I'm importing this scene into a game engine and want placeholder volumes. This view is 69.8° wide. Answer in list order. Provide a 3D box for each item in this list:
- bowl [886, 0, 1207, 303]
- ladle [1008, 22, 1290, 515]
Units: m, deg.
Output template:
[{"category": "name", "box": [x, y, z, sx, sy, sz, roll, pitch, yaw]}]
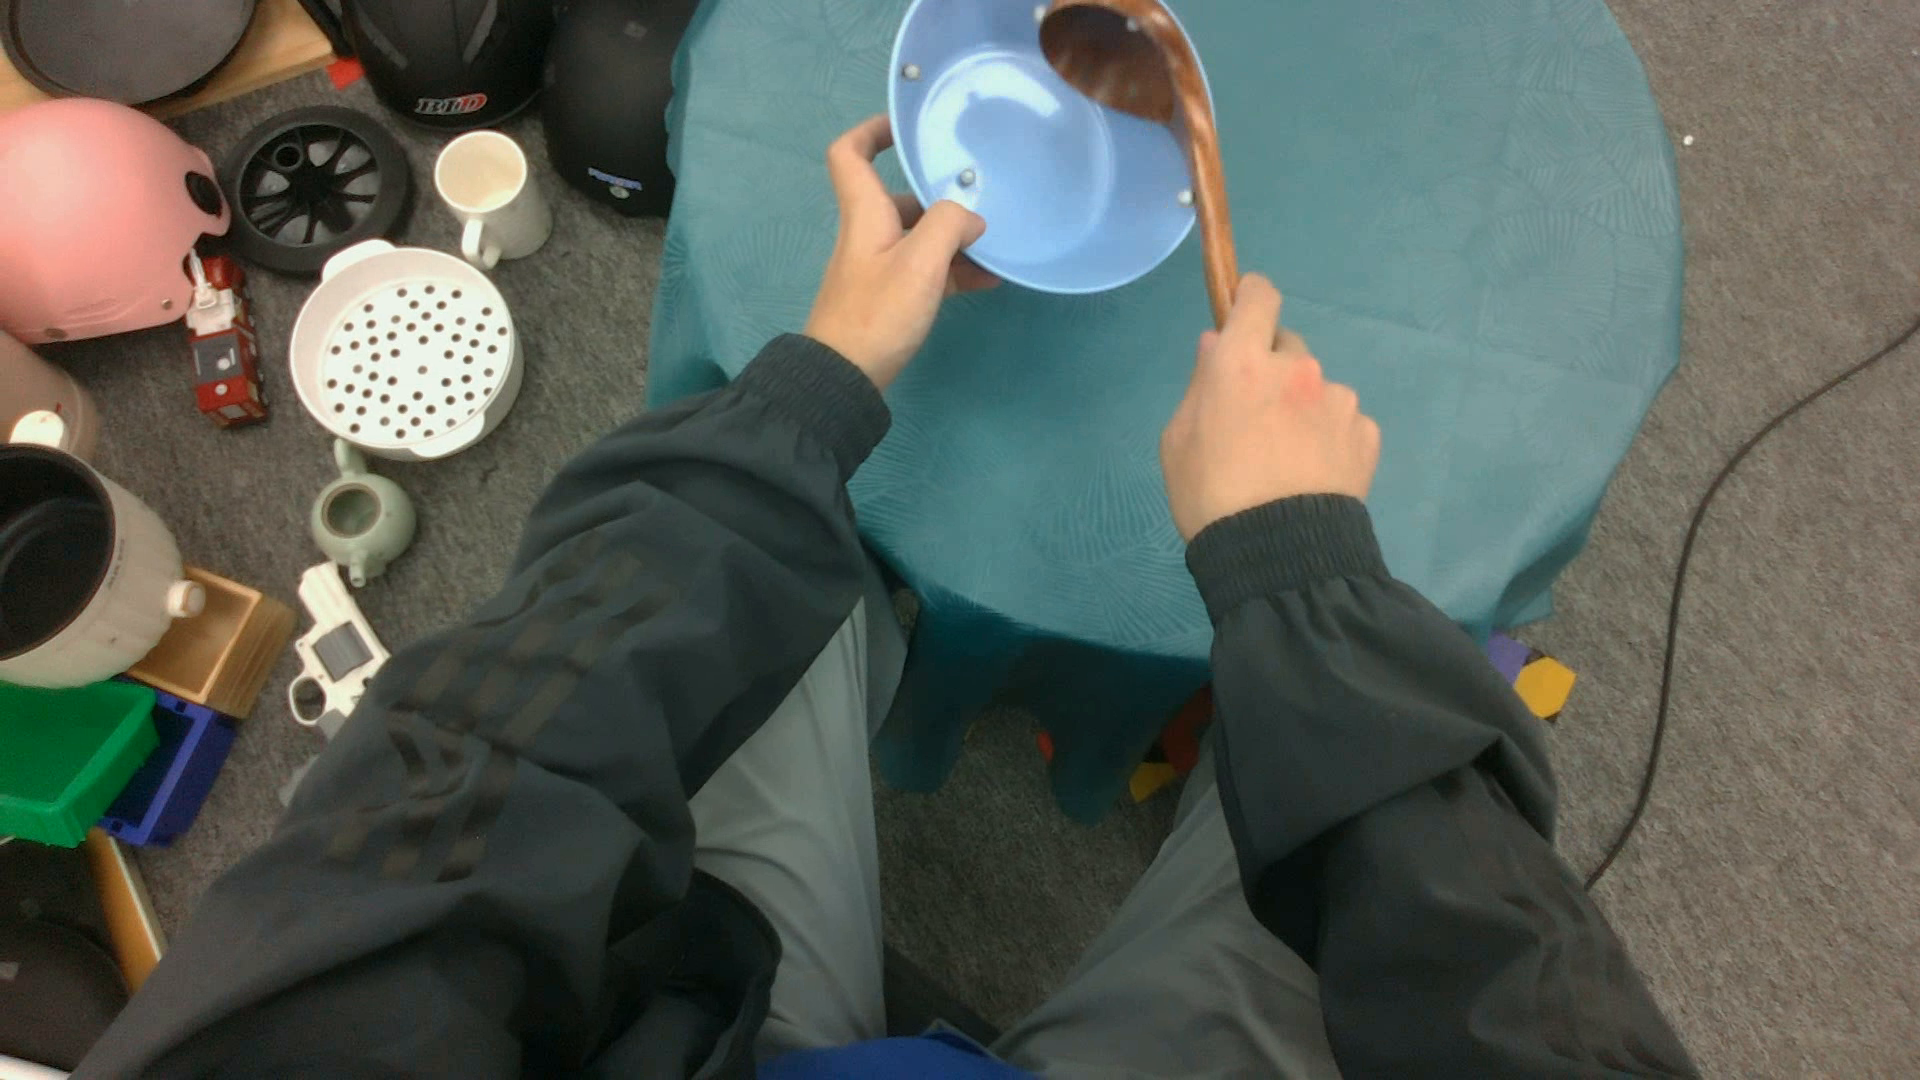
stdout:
[{"category": "bowl", "box": [0.037, -0.206, 0.727, 0.176, 0.070, 0.176, 1, 87, -19]}, {"category": "ladle", "box": [0.088, -0.135, 0.679, 0.076, 0.082, 0.274, -15, 74, 9]}]
